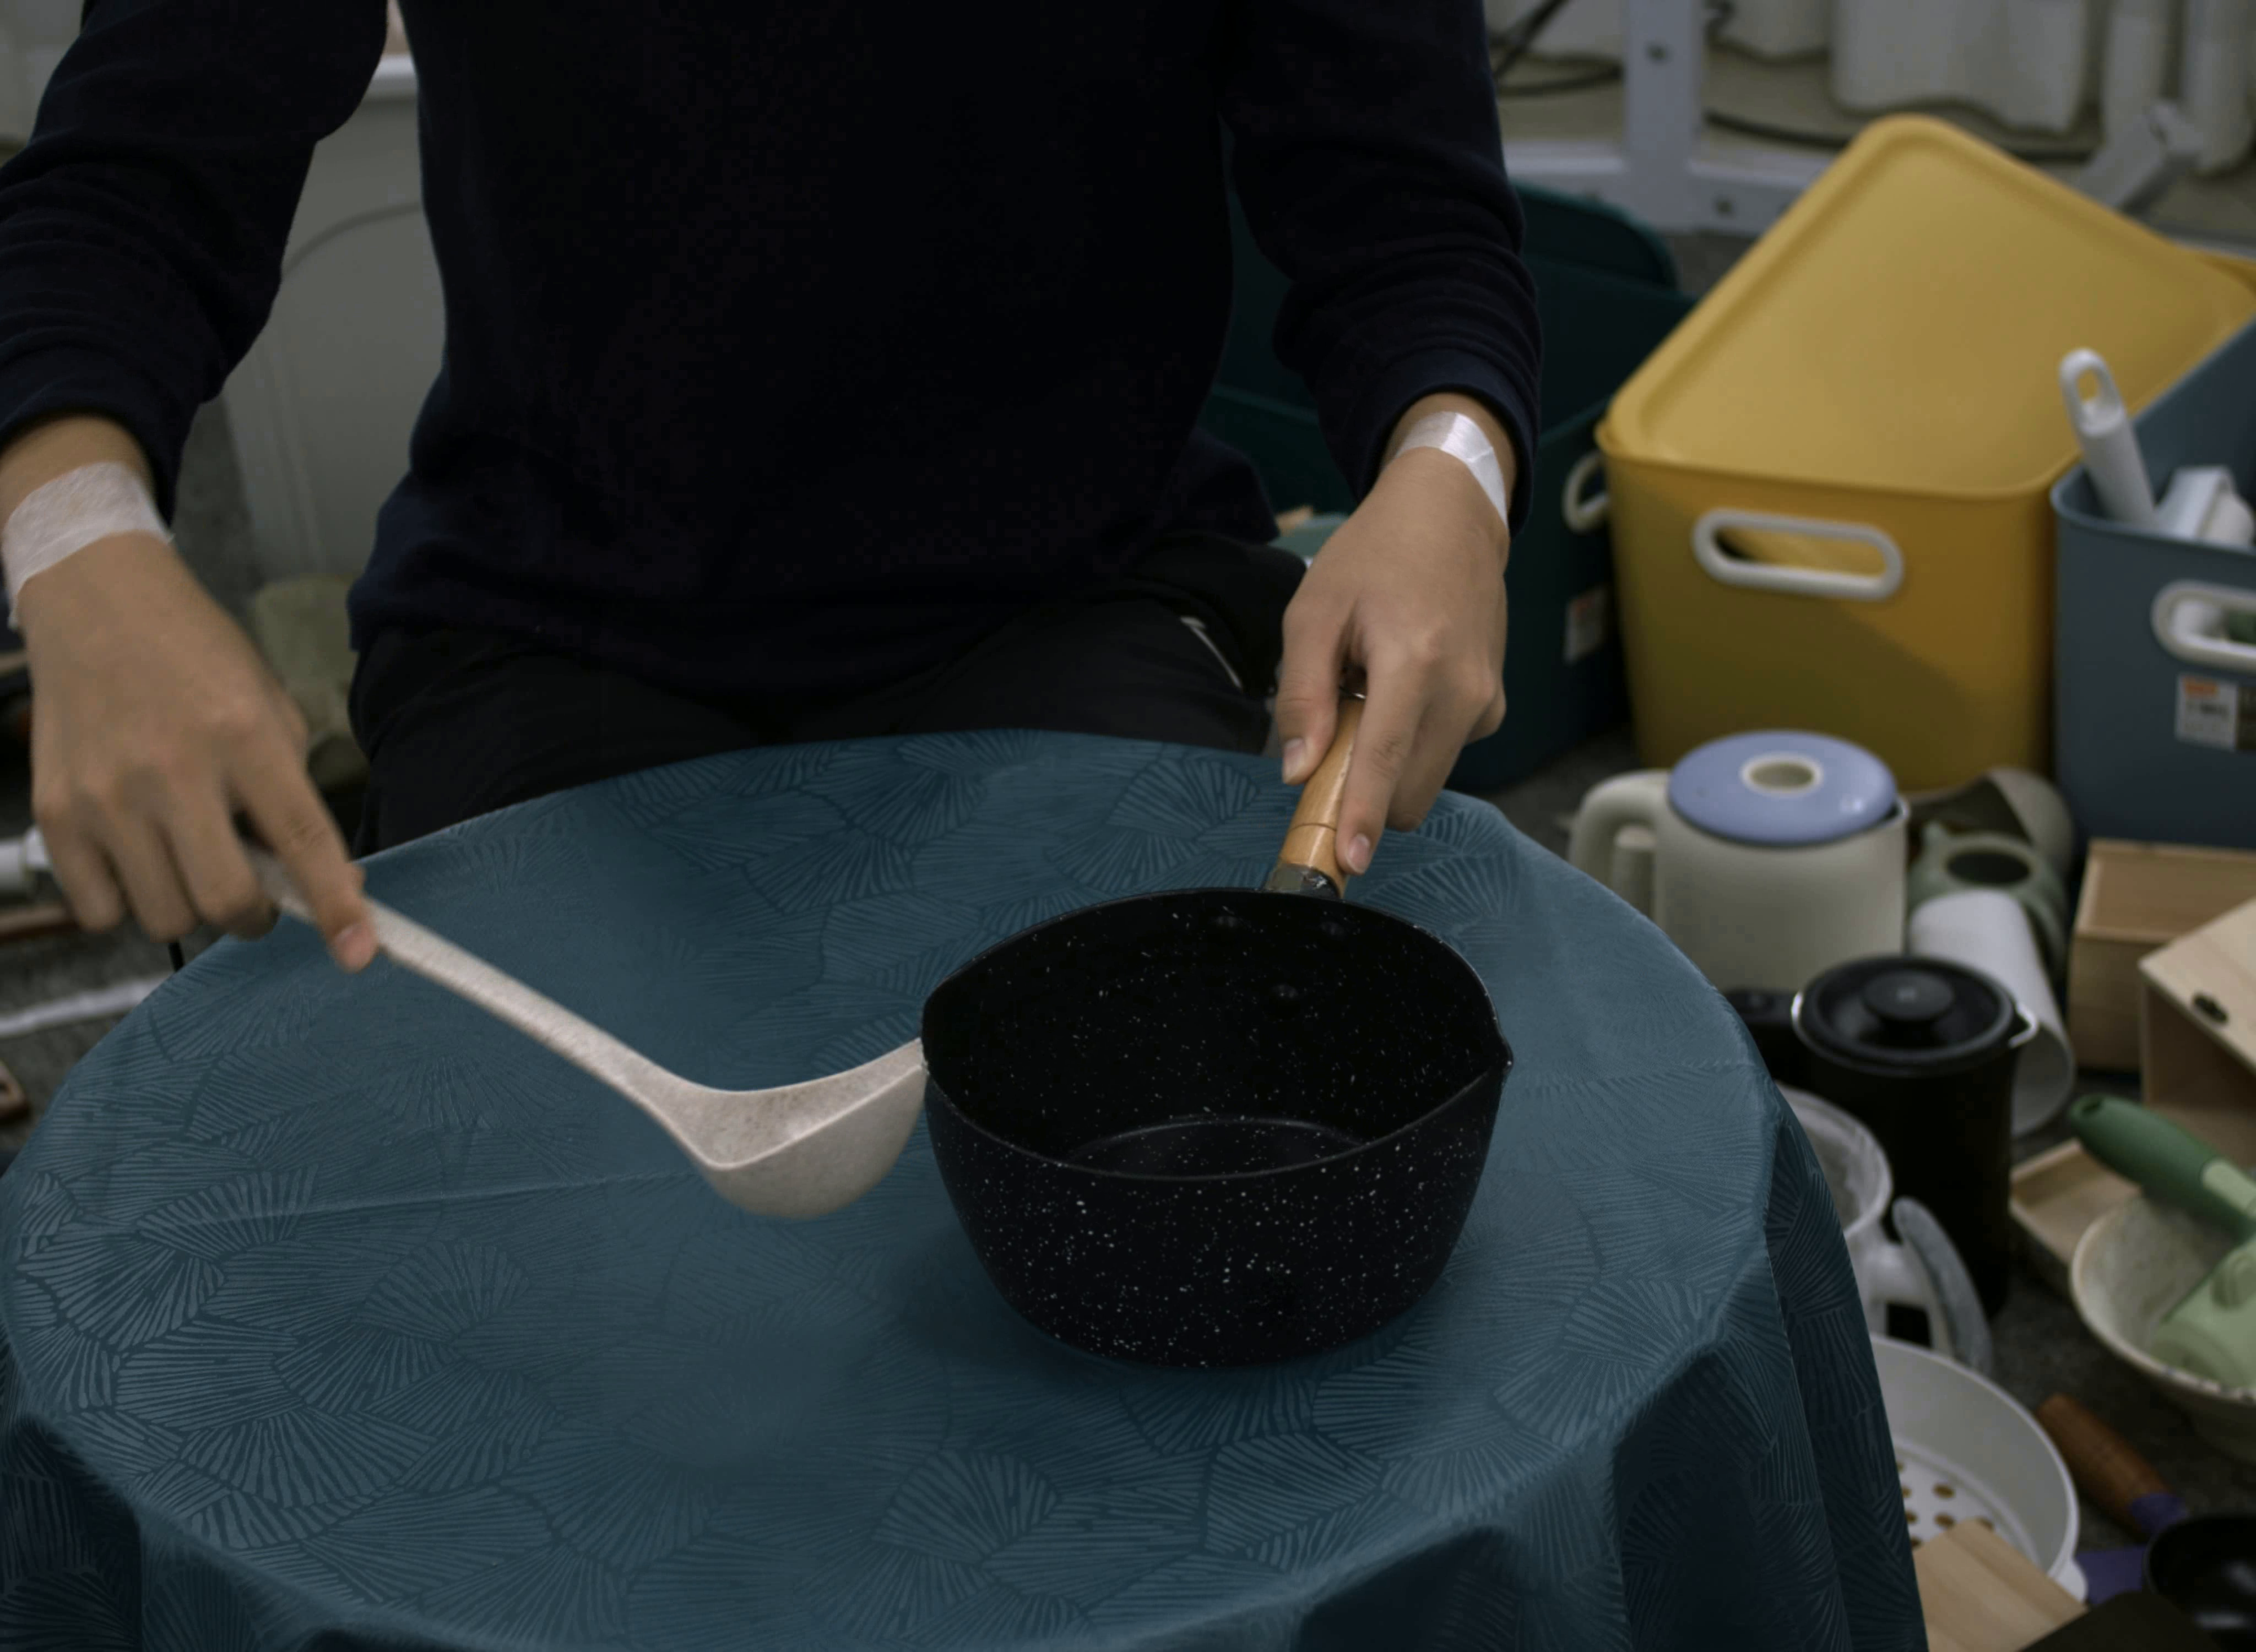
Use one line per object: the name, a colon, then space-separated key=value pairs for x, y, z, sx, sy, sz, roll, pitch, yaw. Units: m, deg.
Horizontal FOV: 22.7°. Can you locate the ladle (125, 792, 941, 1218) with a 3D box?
ladle: x=-0.186 y=0.034 z=1.727 sx=0.274 sy=0.068 sz=0.090 roll=30 pitch=27 yaw=11

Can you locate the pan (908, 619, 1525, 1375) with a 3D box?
pan: x=0.047 y=0.053 z=1.874 sx=0.206 sy=0.107 sz=0.349 roll=4 pitch=29 yaw=15
